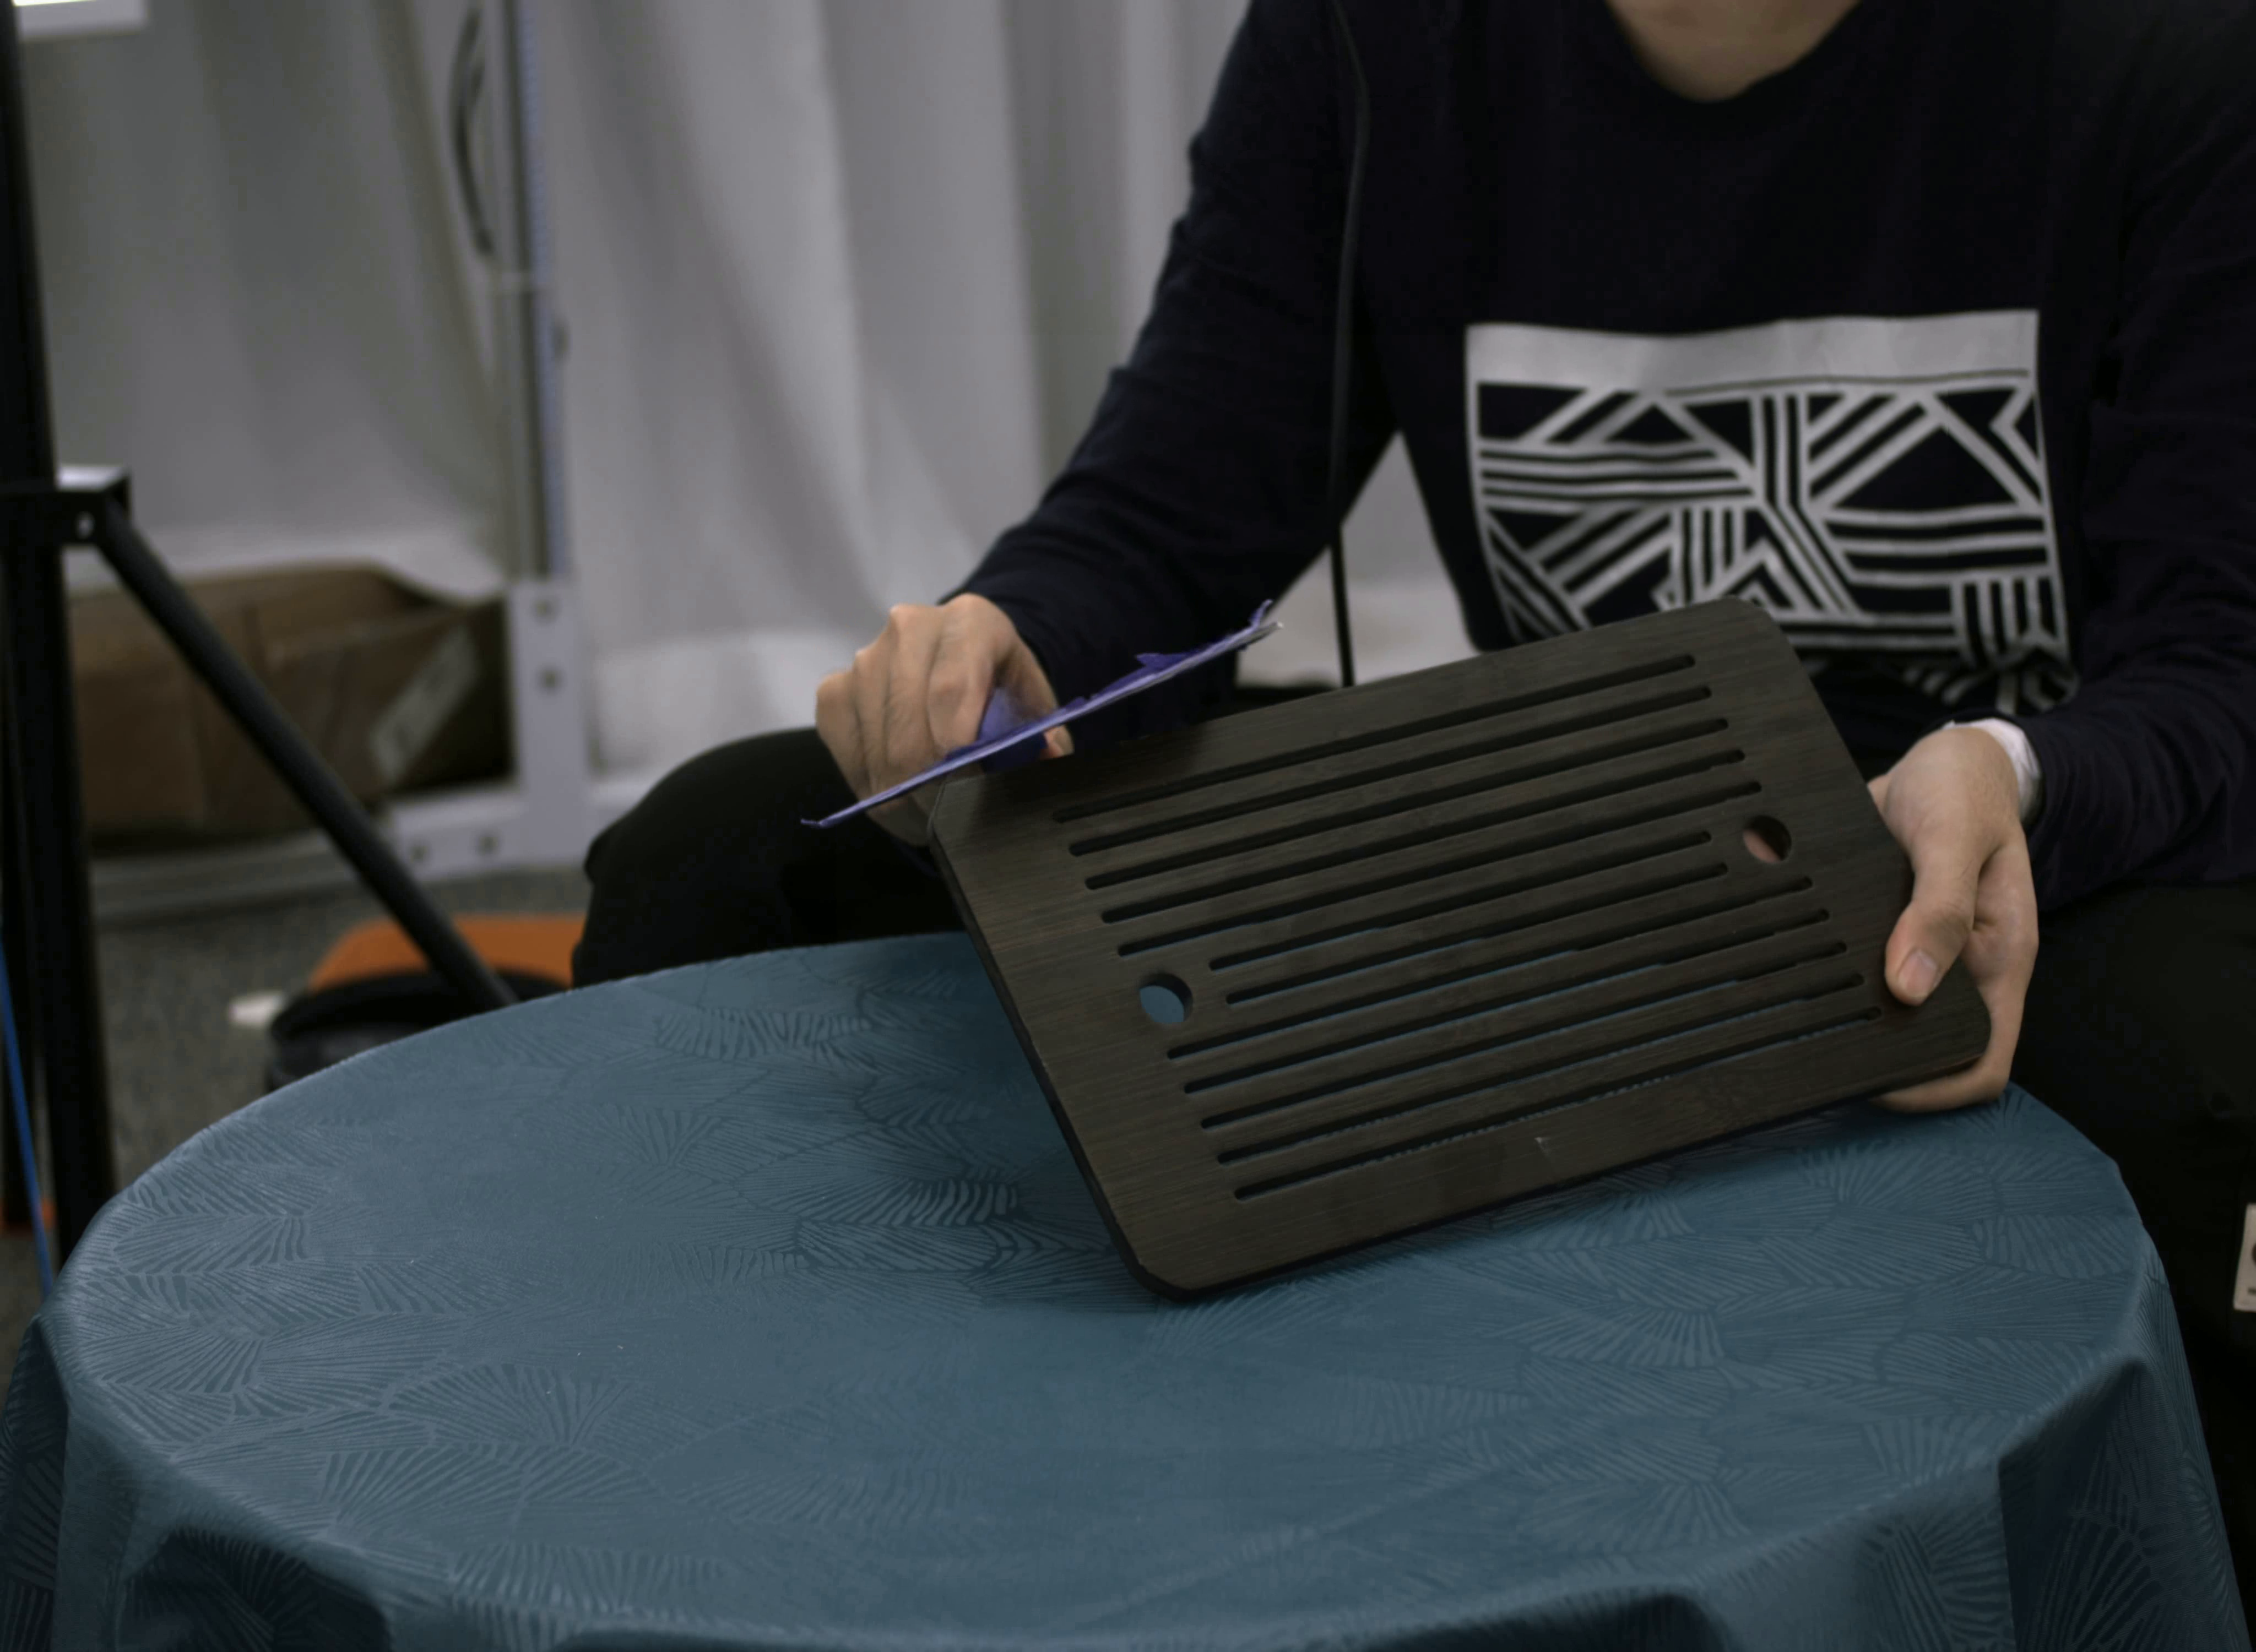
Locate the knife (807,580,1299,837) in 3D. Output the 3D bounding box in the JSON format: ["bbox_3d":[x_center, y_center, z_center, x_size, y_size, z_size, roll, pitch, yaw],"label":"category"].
[{"bbox_3d":[-0.049,-0.027,1.673,0.102,0.032,0.319,-24,-1,-23],"label":"knife"}]

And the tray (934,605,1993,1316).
[{"bbox_3d":[0.102,0.036,1.566,0.299,0.173,0.019,-14,-26,-28],"label":"tray"}]
